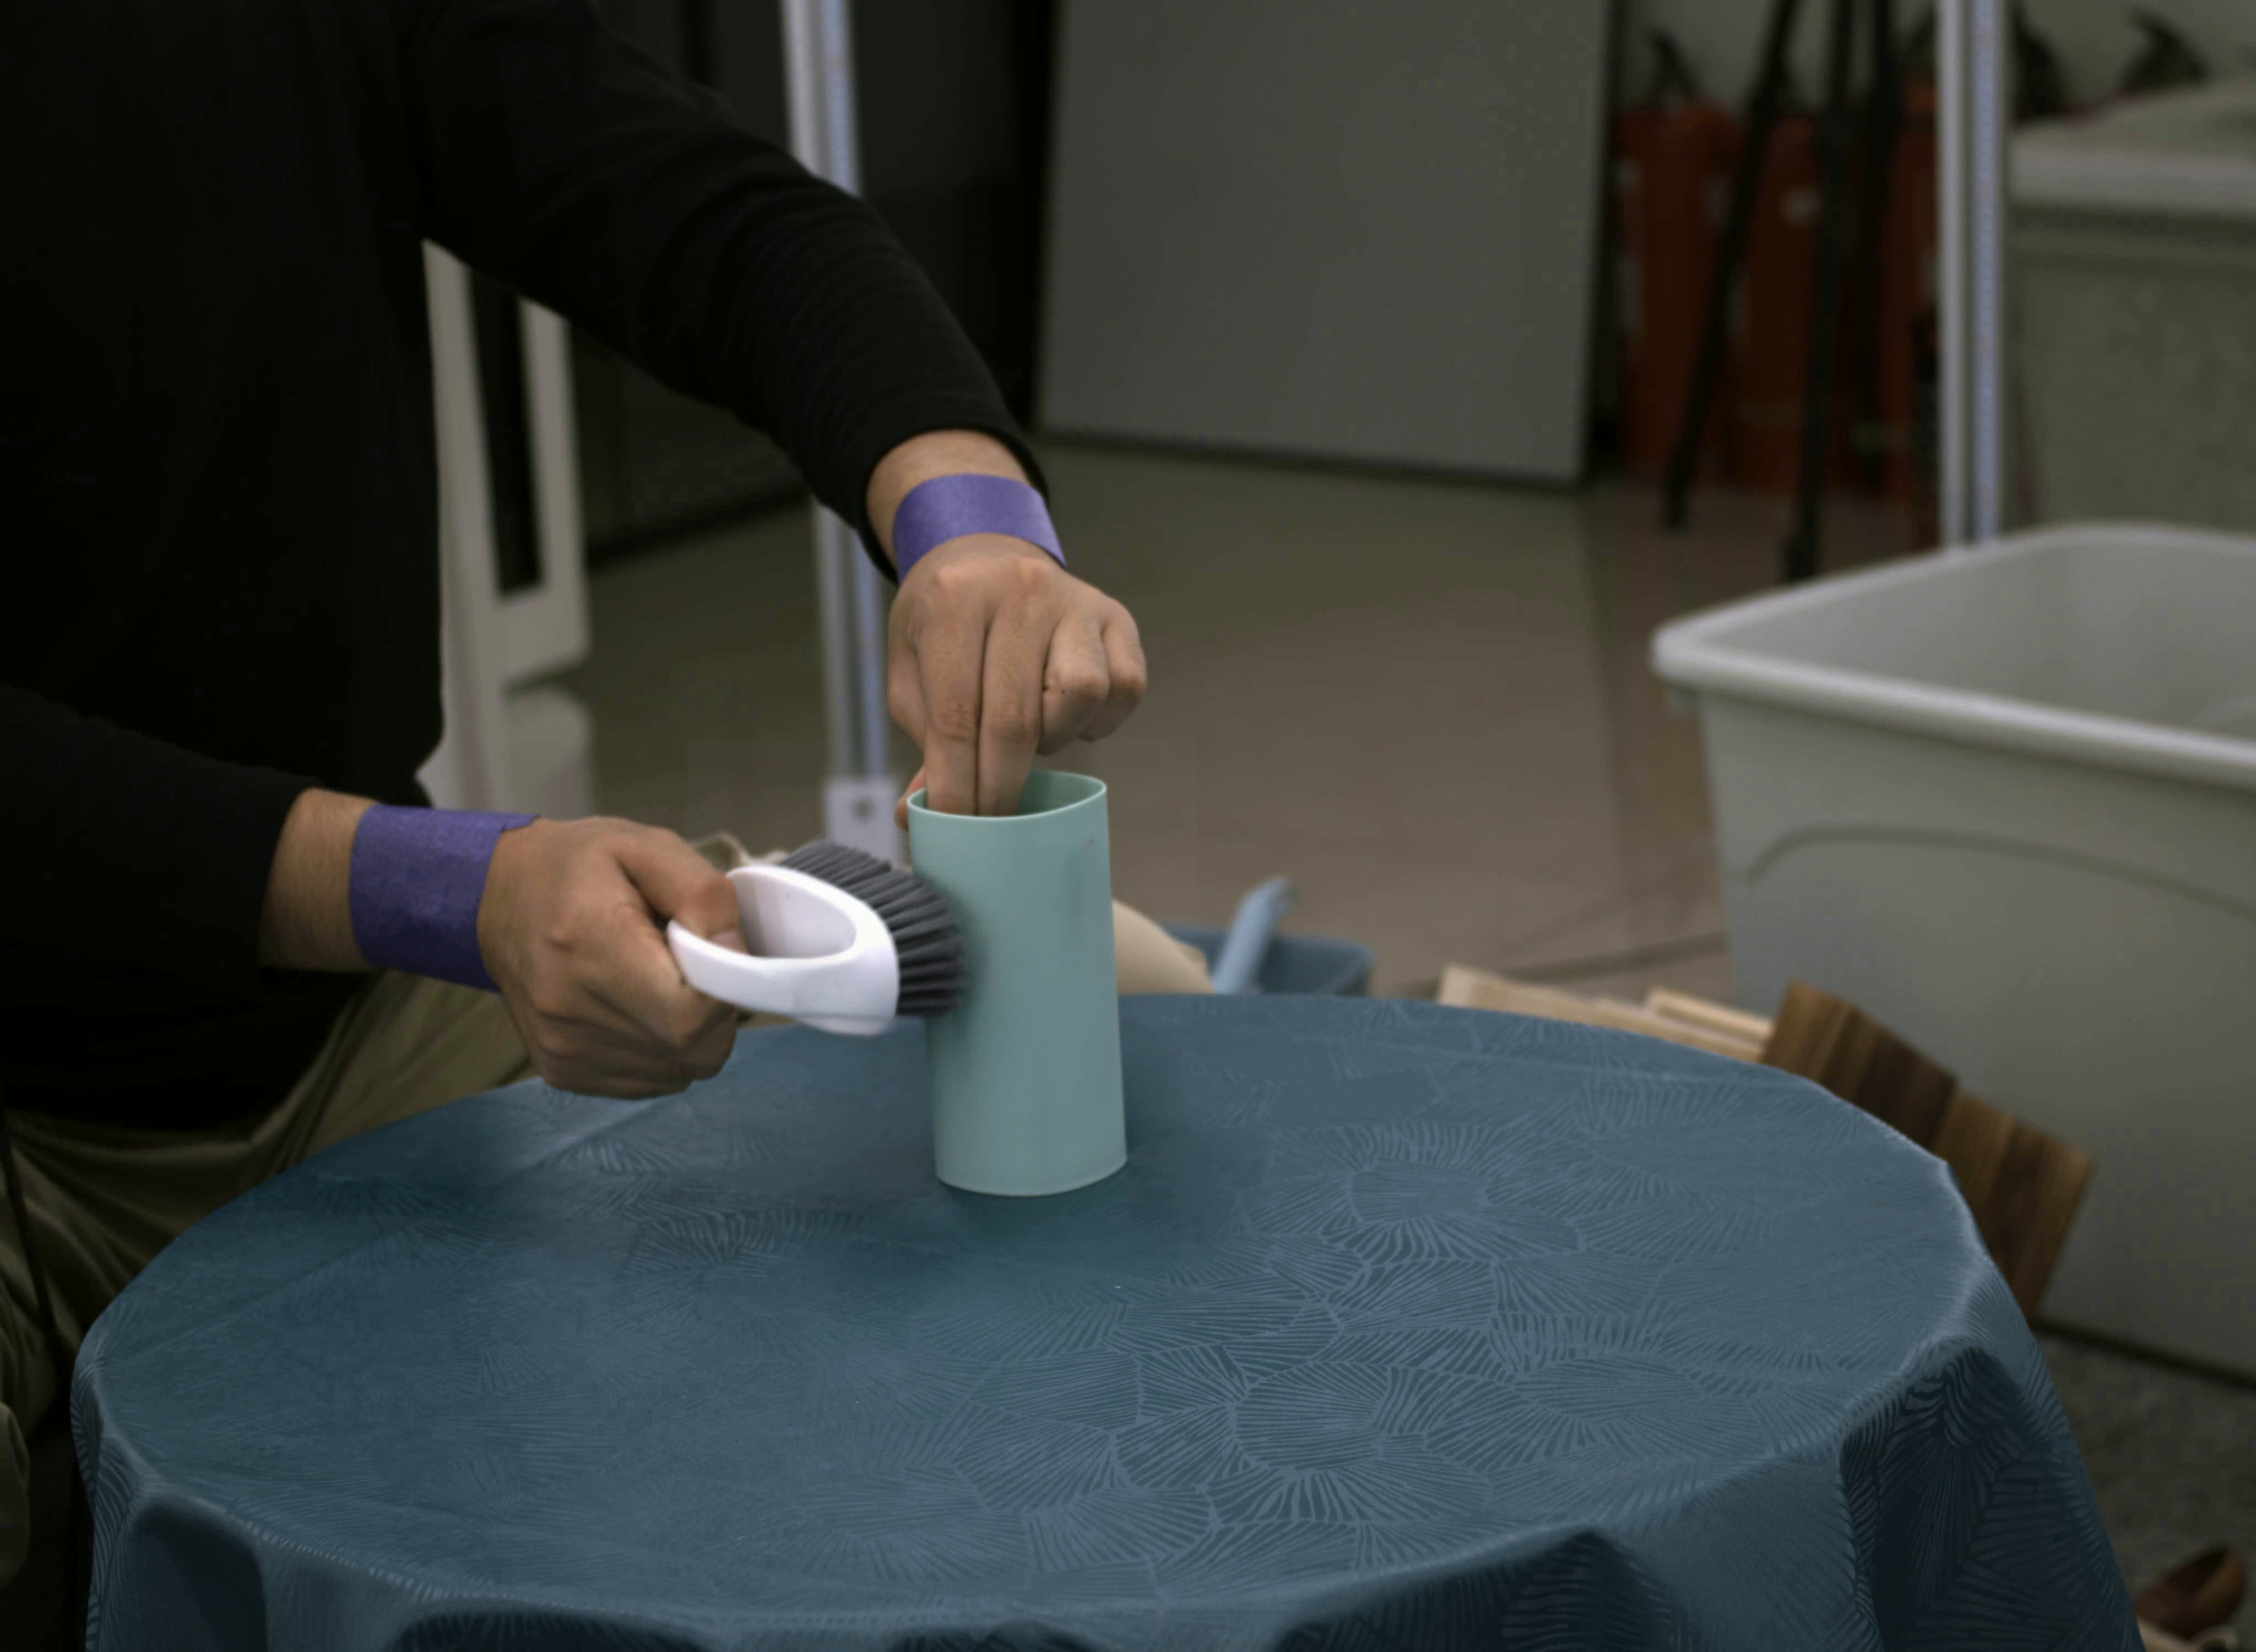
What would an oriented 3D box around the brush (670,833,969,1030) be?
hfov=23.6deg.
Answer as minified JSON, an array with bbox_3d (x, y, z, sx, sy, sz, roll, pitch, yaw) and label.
[{"bbox_3d":[-0.108,0.039,1.762,0.071,0.051,0.100,-14,22,-35],"label":"brush"}]

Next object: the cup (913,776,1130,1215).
[{"bbox_3d":[-0.035,0.055,1.786,0.066,0.134,0.067,-3,14,0],"label":"cup"}]
